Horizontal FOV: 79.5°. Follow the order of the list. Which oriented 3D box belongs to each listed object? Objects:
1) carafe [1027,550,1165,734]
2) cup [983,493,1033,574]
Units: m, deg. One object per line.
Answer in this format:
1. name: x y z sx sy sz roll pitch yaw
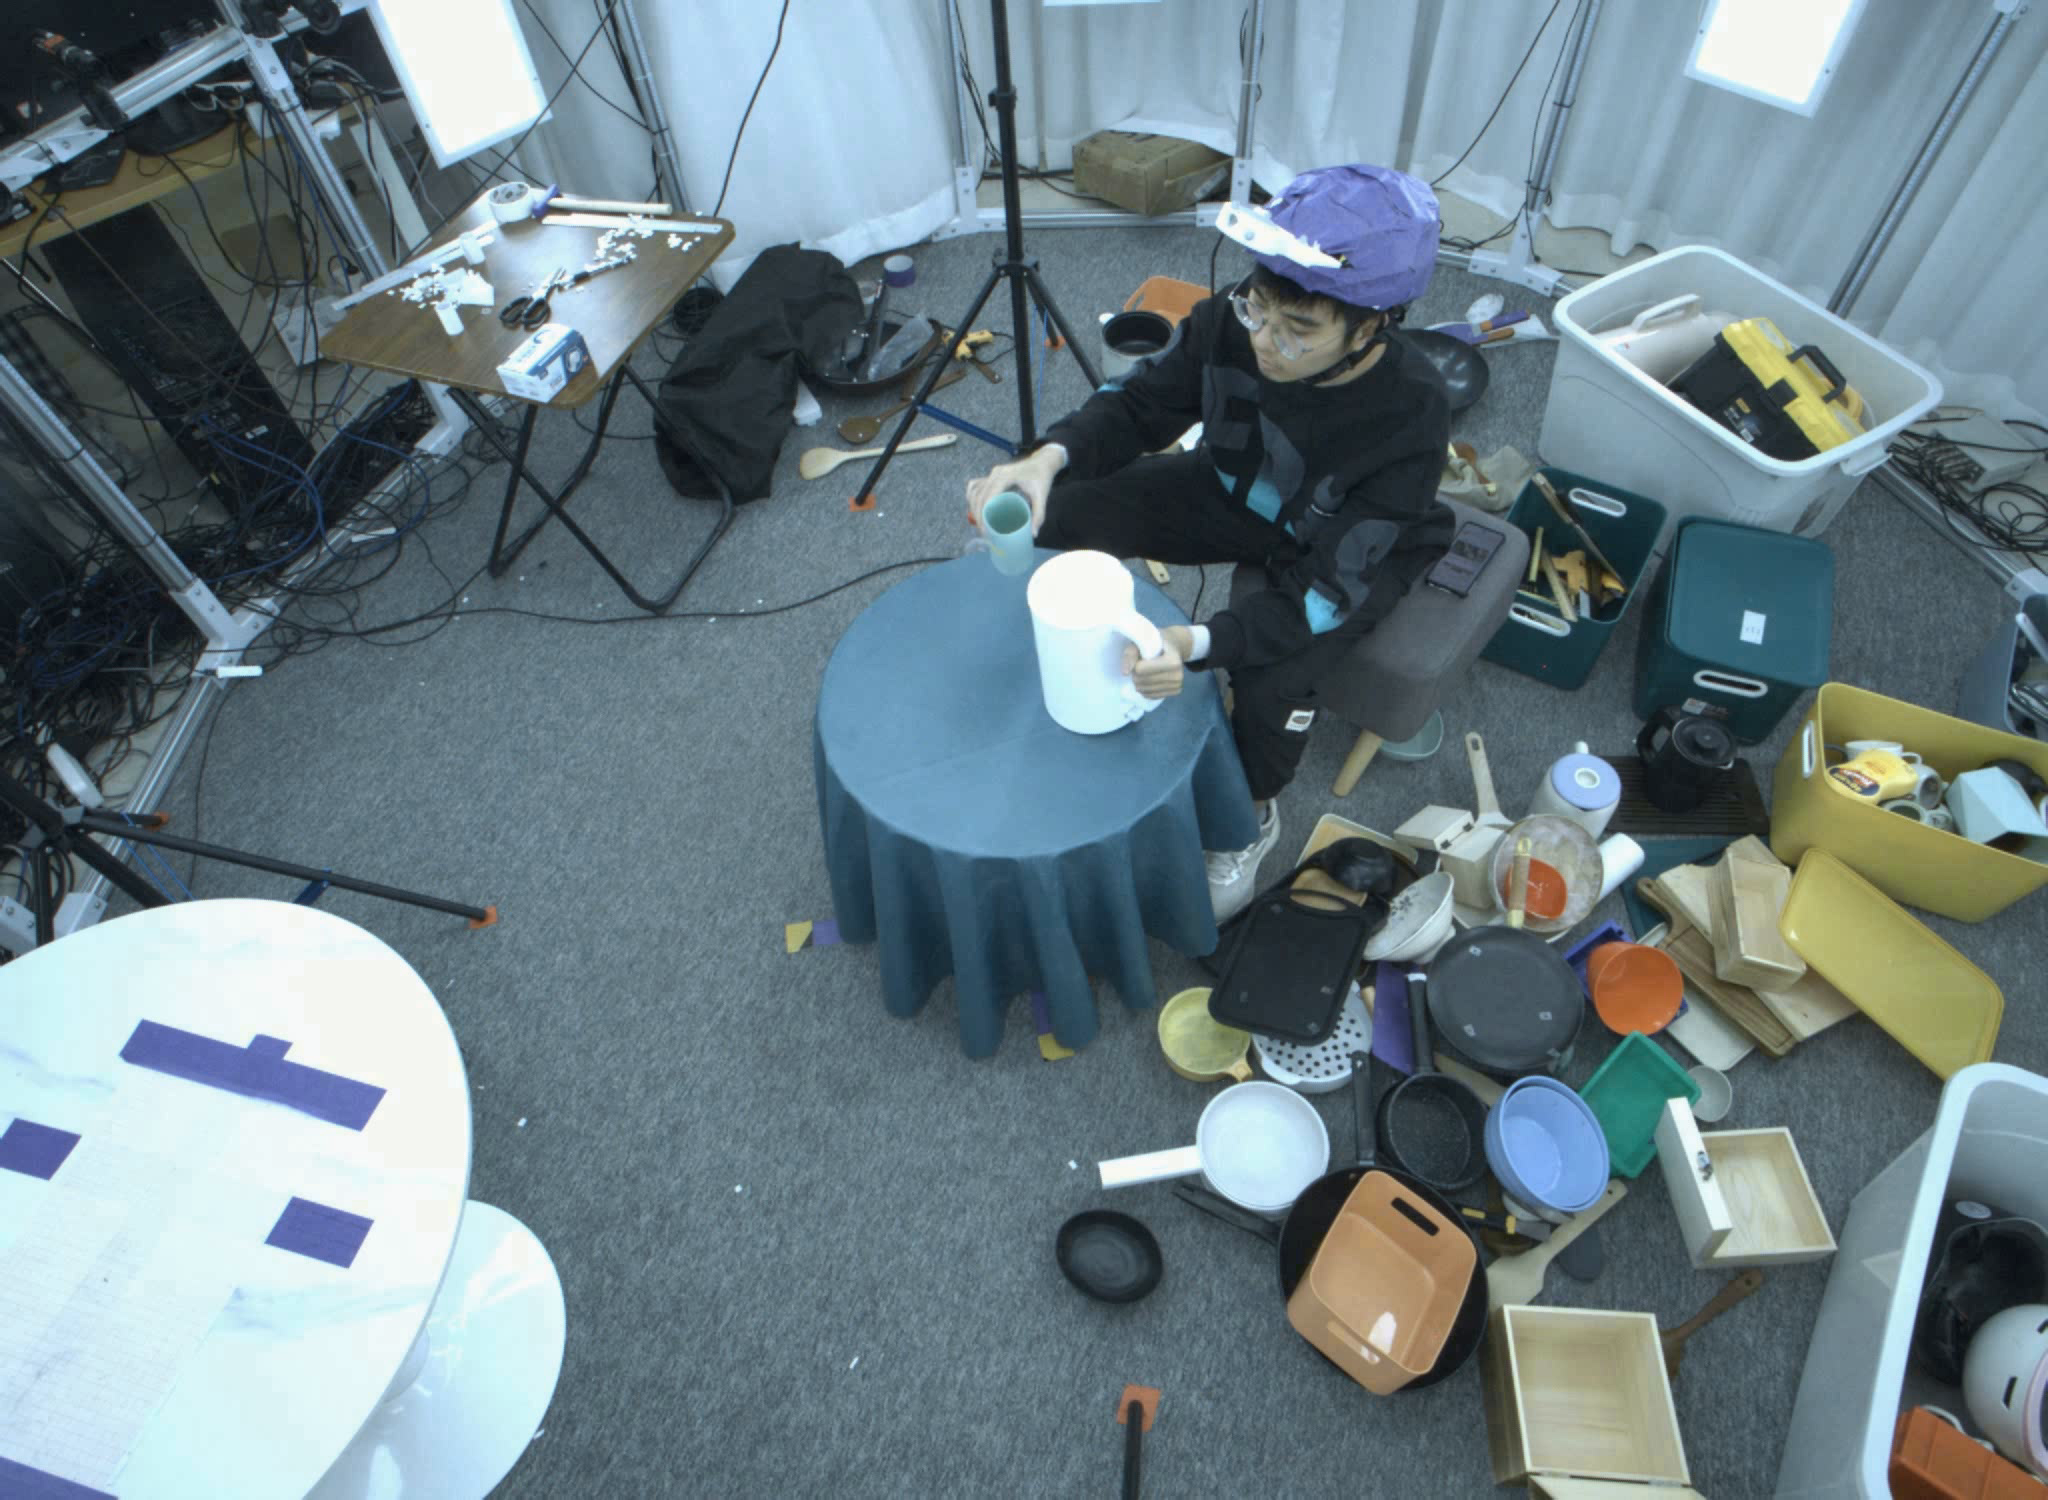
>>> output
1. carafe: 0.107 -0.136 1.724 0.209 0.243 0.153 36 69 29
2. cup: -0.021 -0.304 1.721 0.067 0.133 0.066 0 74 2
